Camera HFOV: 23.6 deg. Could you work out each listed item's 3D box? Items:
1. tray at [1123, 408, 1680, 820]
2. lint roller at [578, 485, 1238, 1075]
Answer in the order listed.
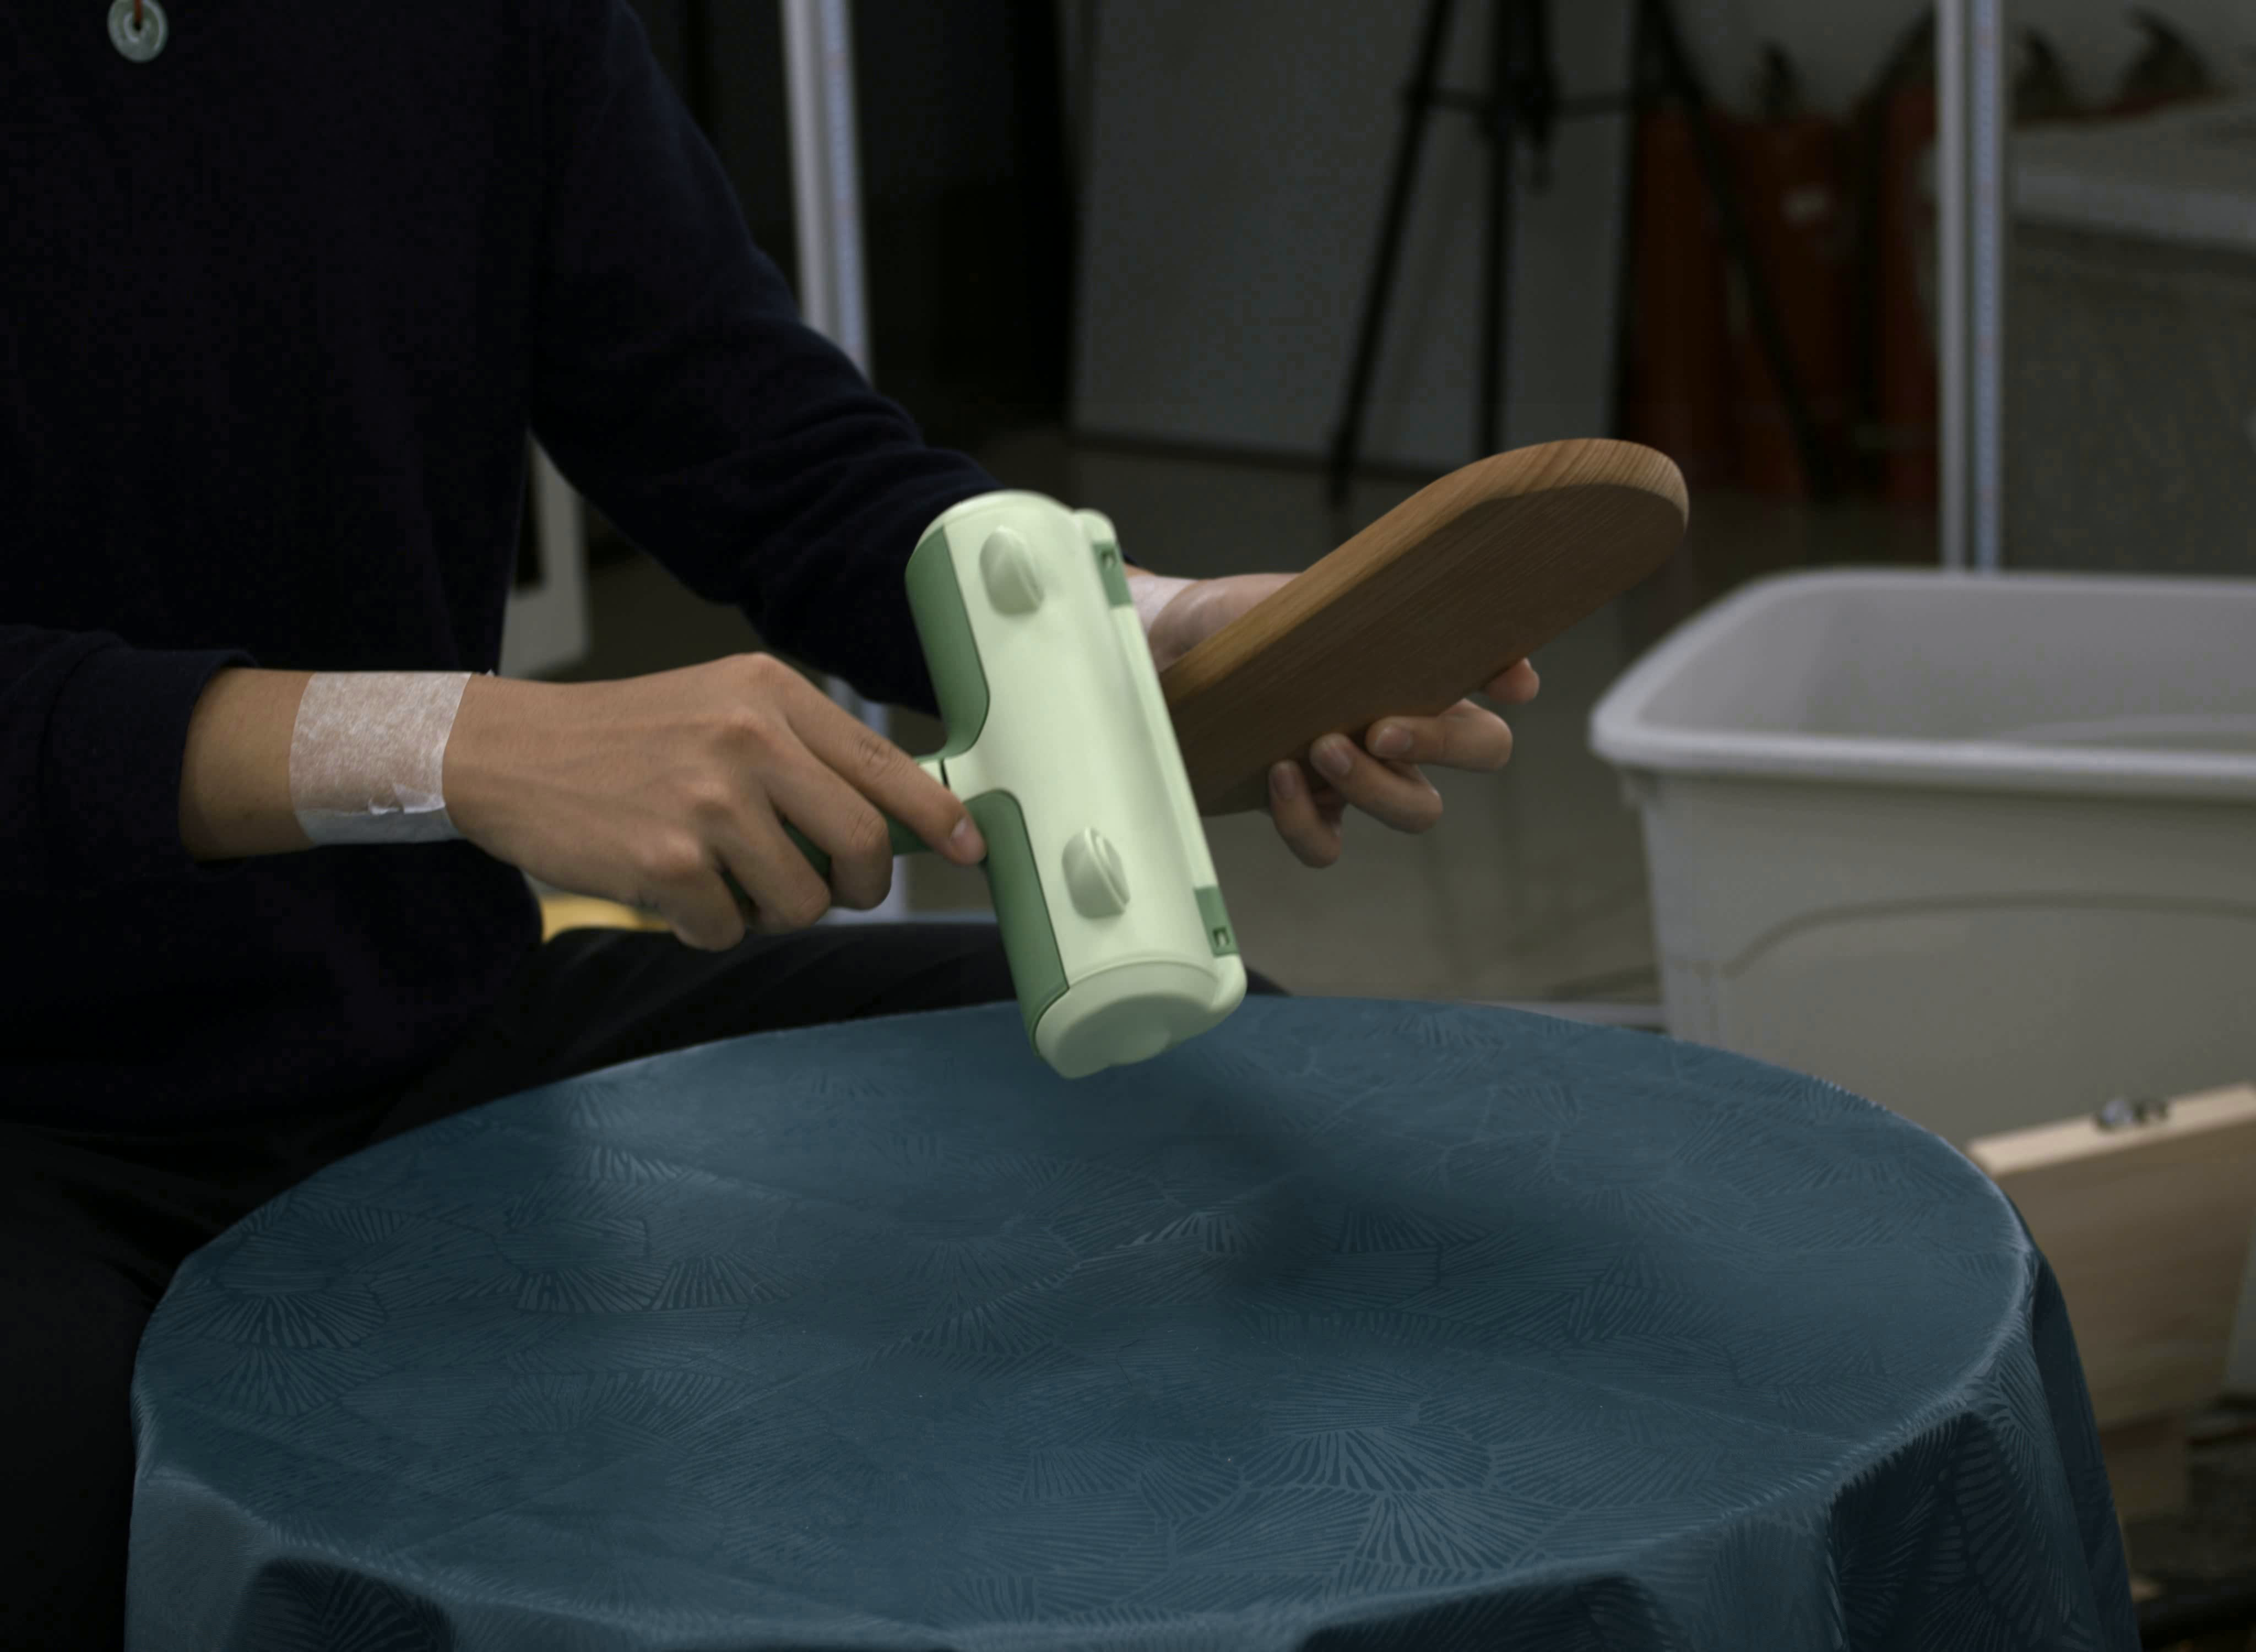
[{"bbox_3d":[0.079,-0.063,1.699,0.099,0.020,0.233,15,-40,-40],"label":"tray"},{"bbox_3d":[-0.074,-0.017,1.643,0.179,0.083,0.201,-4,53,-19],"label":"lint roller"}]
